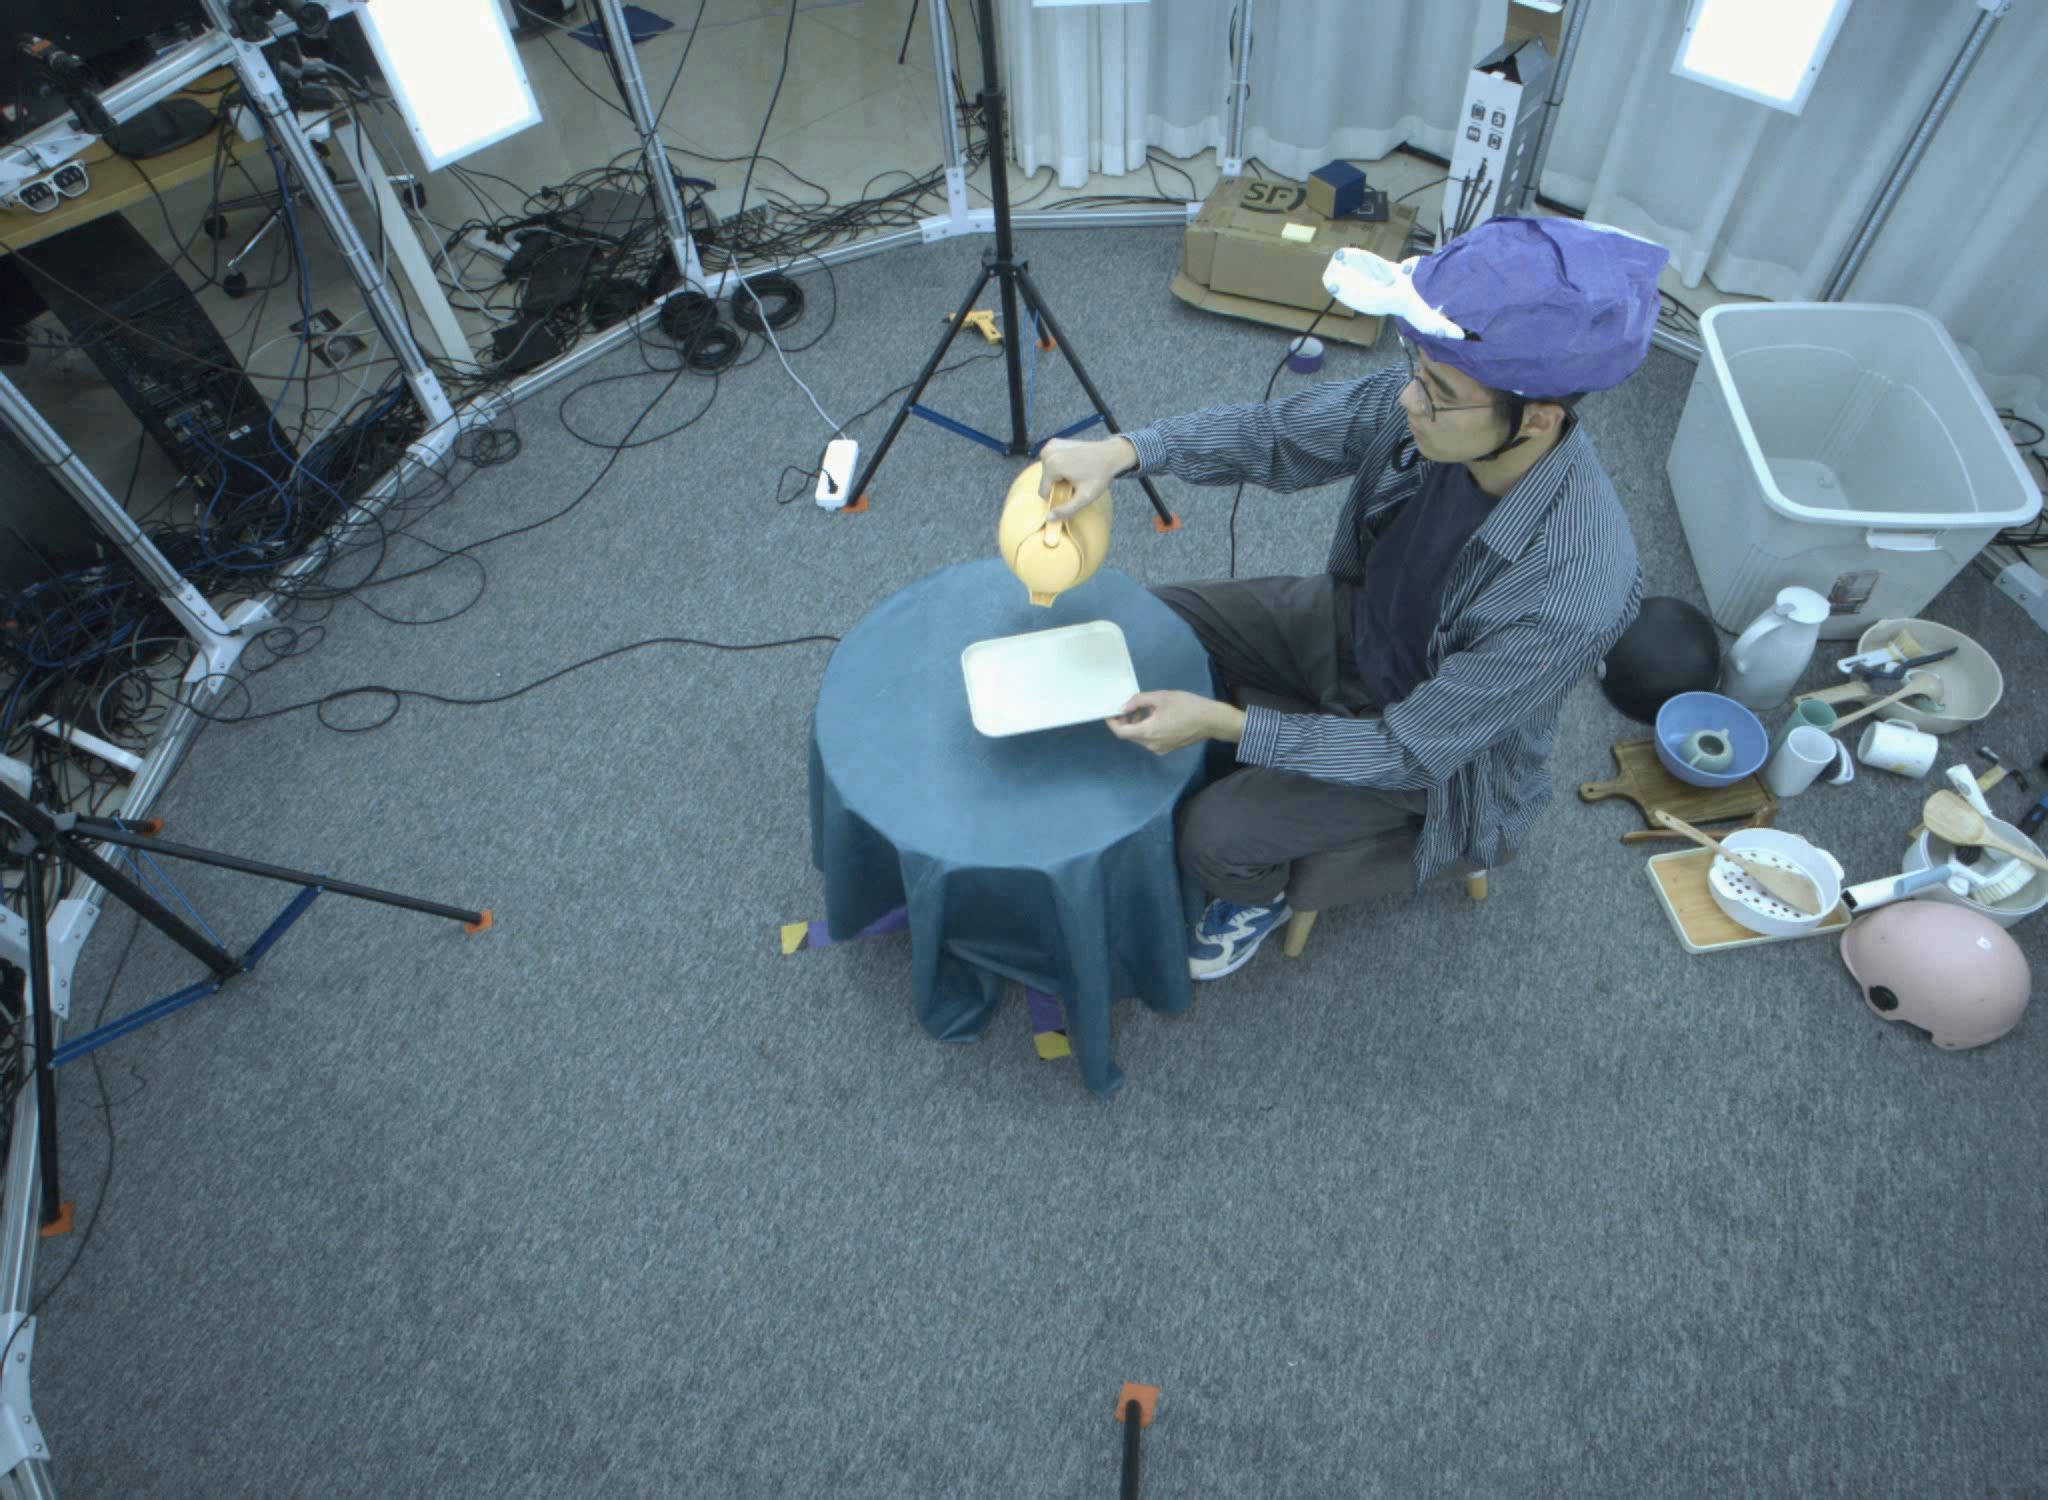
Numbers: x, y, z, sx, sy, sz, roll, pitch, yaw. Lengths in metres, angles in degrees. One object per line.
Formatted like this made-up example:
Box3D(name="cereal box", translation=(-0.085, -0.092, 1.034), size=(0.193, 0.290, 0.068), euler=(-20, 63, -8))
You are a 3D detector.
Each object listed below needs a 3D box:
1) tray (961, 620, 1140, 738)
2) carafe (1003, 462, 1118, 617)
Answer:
Box3D(name="tray", translation=(0.036, -0.101, 1.760), size=(0.240, 0.017, 0.169), euler=(-10, 58, -5))
Box3D(name="carafe", translation=(0.054, -0.319, 1.766), size=(0.164, 0.203, 0.258), euler=(8, 31, 0))
